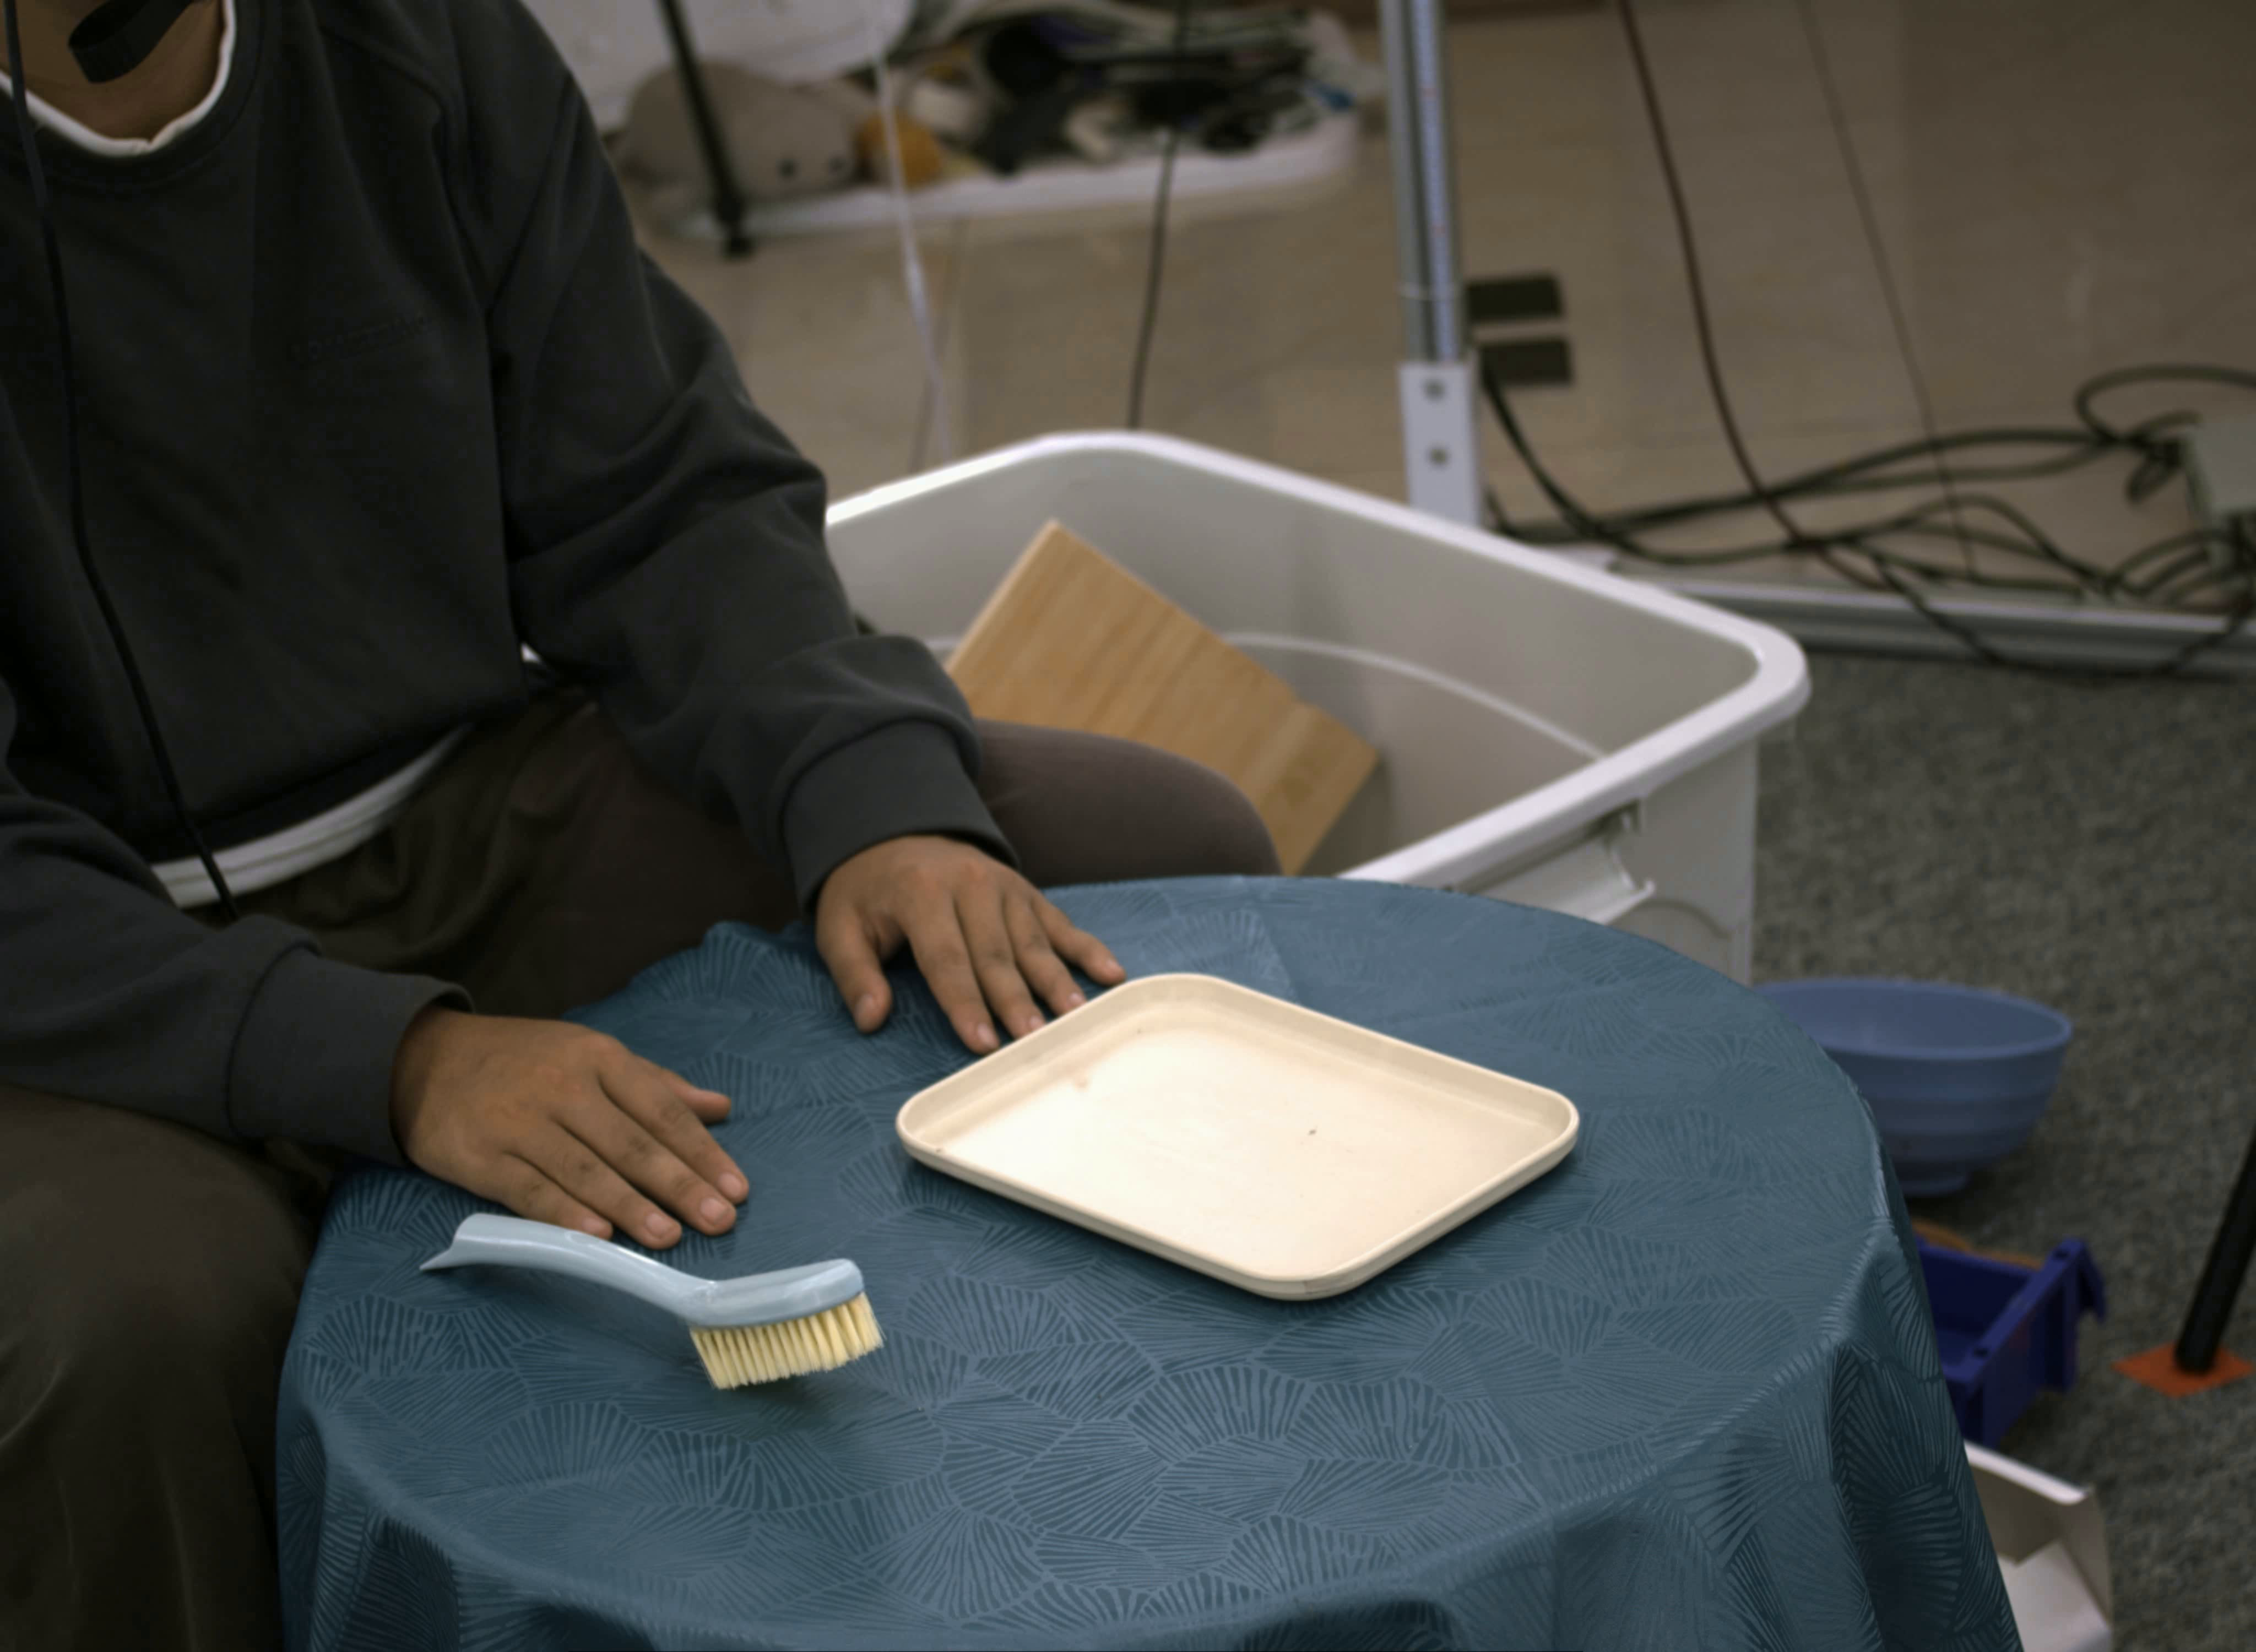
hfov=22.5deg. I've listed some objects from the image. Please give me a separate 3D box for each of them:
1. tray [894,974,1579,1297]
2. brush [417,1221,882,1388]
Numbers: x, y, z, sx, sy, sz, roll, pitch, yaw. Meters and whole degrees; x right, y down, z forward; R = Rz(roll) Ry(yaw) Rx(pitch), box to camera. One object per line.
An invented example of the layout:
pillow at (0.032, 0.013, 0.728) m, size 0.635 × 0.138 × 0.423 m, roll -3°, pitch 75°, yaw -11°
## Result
tray at (0.040, 0.117, 2.164) m, size 0.170 × 0.018 × 0.238 m, roll -26°, pitch 31°, yaw -38°
brush at (-0.179, 0.174, 2.078) m, size 0.228 × 0.050 × 0.037 m, roll 3°, pitch 19°, yaw 40°
